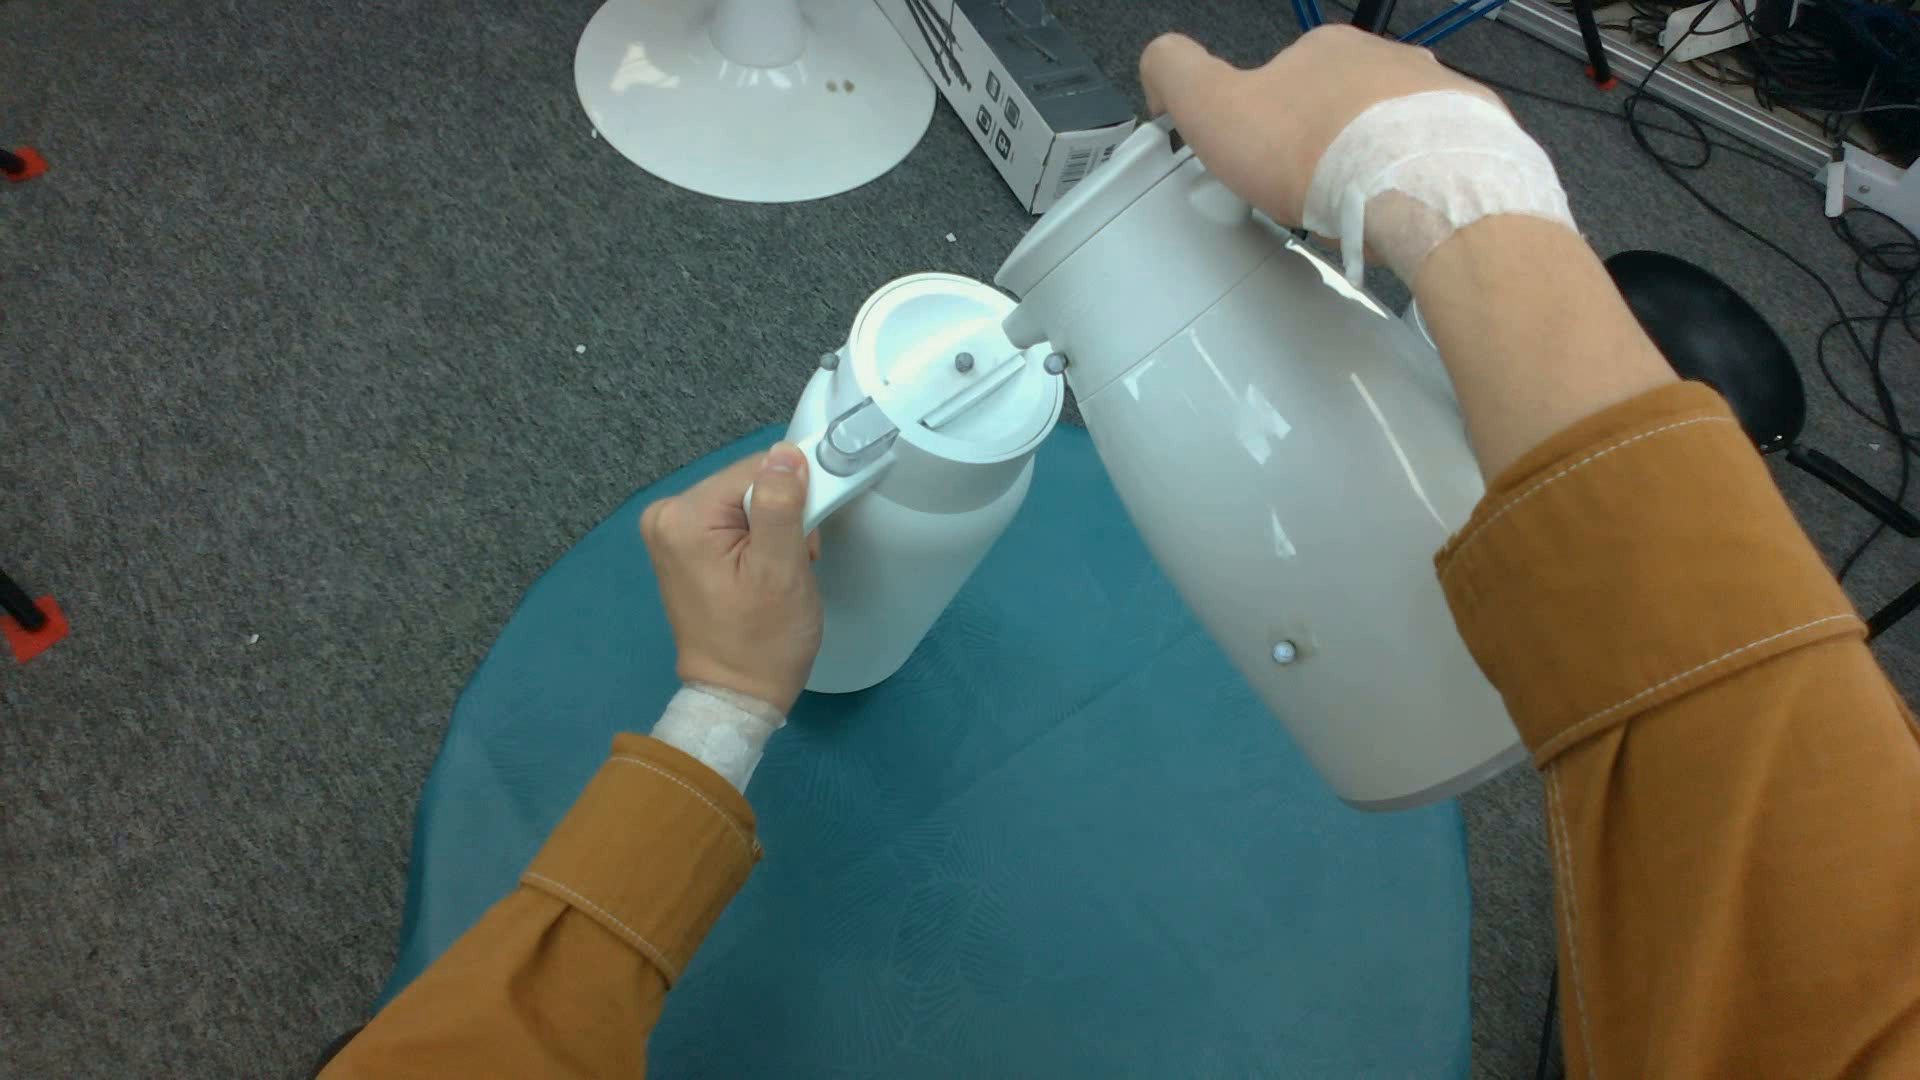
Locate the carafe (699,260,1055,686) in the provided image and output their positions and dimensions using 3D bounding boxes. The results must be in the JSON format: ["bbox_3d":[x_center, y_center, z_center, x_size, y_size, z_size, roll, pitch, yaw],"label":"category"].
[{"bbox_3d":[-0.056,-0.014,0.696,0.173,0.267,0.124,-38,83,-32],"label":"carafe"}]

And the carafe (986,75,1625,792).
[{"bbox_3d":[0.131,-0.050,0.510,0.248,0.167,0.133,51,43,-5],"label":"carafe"}]
